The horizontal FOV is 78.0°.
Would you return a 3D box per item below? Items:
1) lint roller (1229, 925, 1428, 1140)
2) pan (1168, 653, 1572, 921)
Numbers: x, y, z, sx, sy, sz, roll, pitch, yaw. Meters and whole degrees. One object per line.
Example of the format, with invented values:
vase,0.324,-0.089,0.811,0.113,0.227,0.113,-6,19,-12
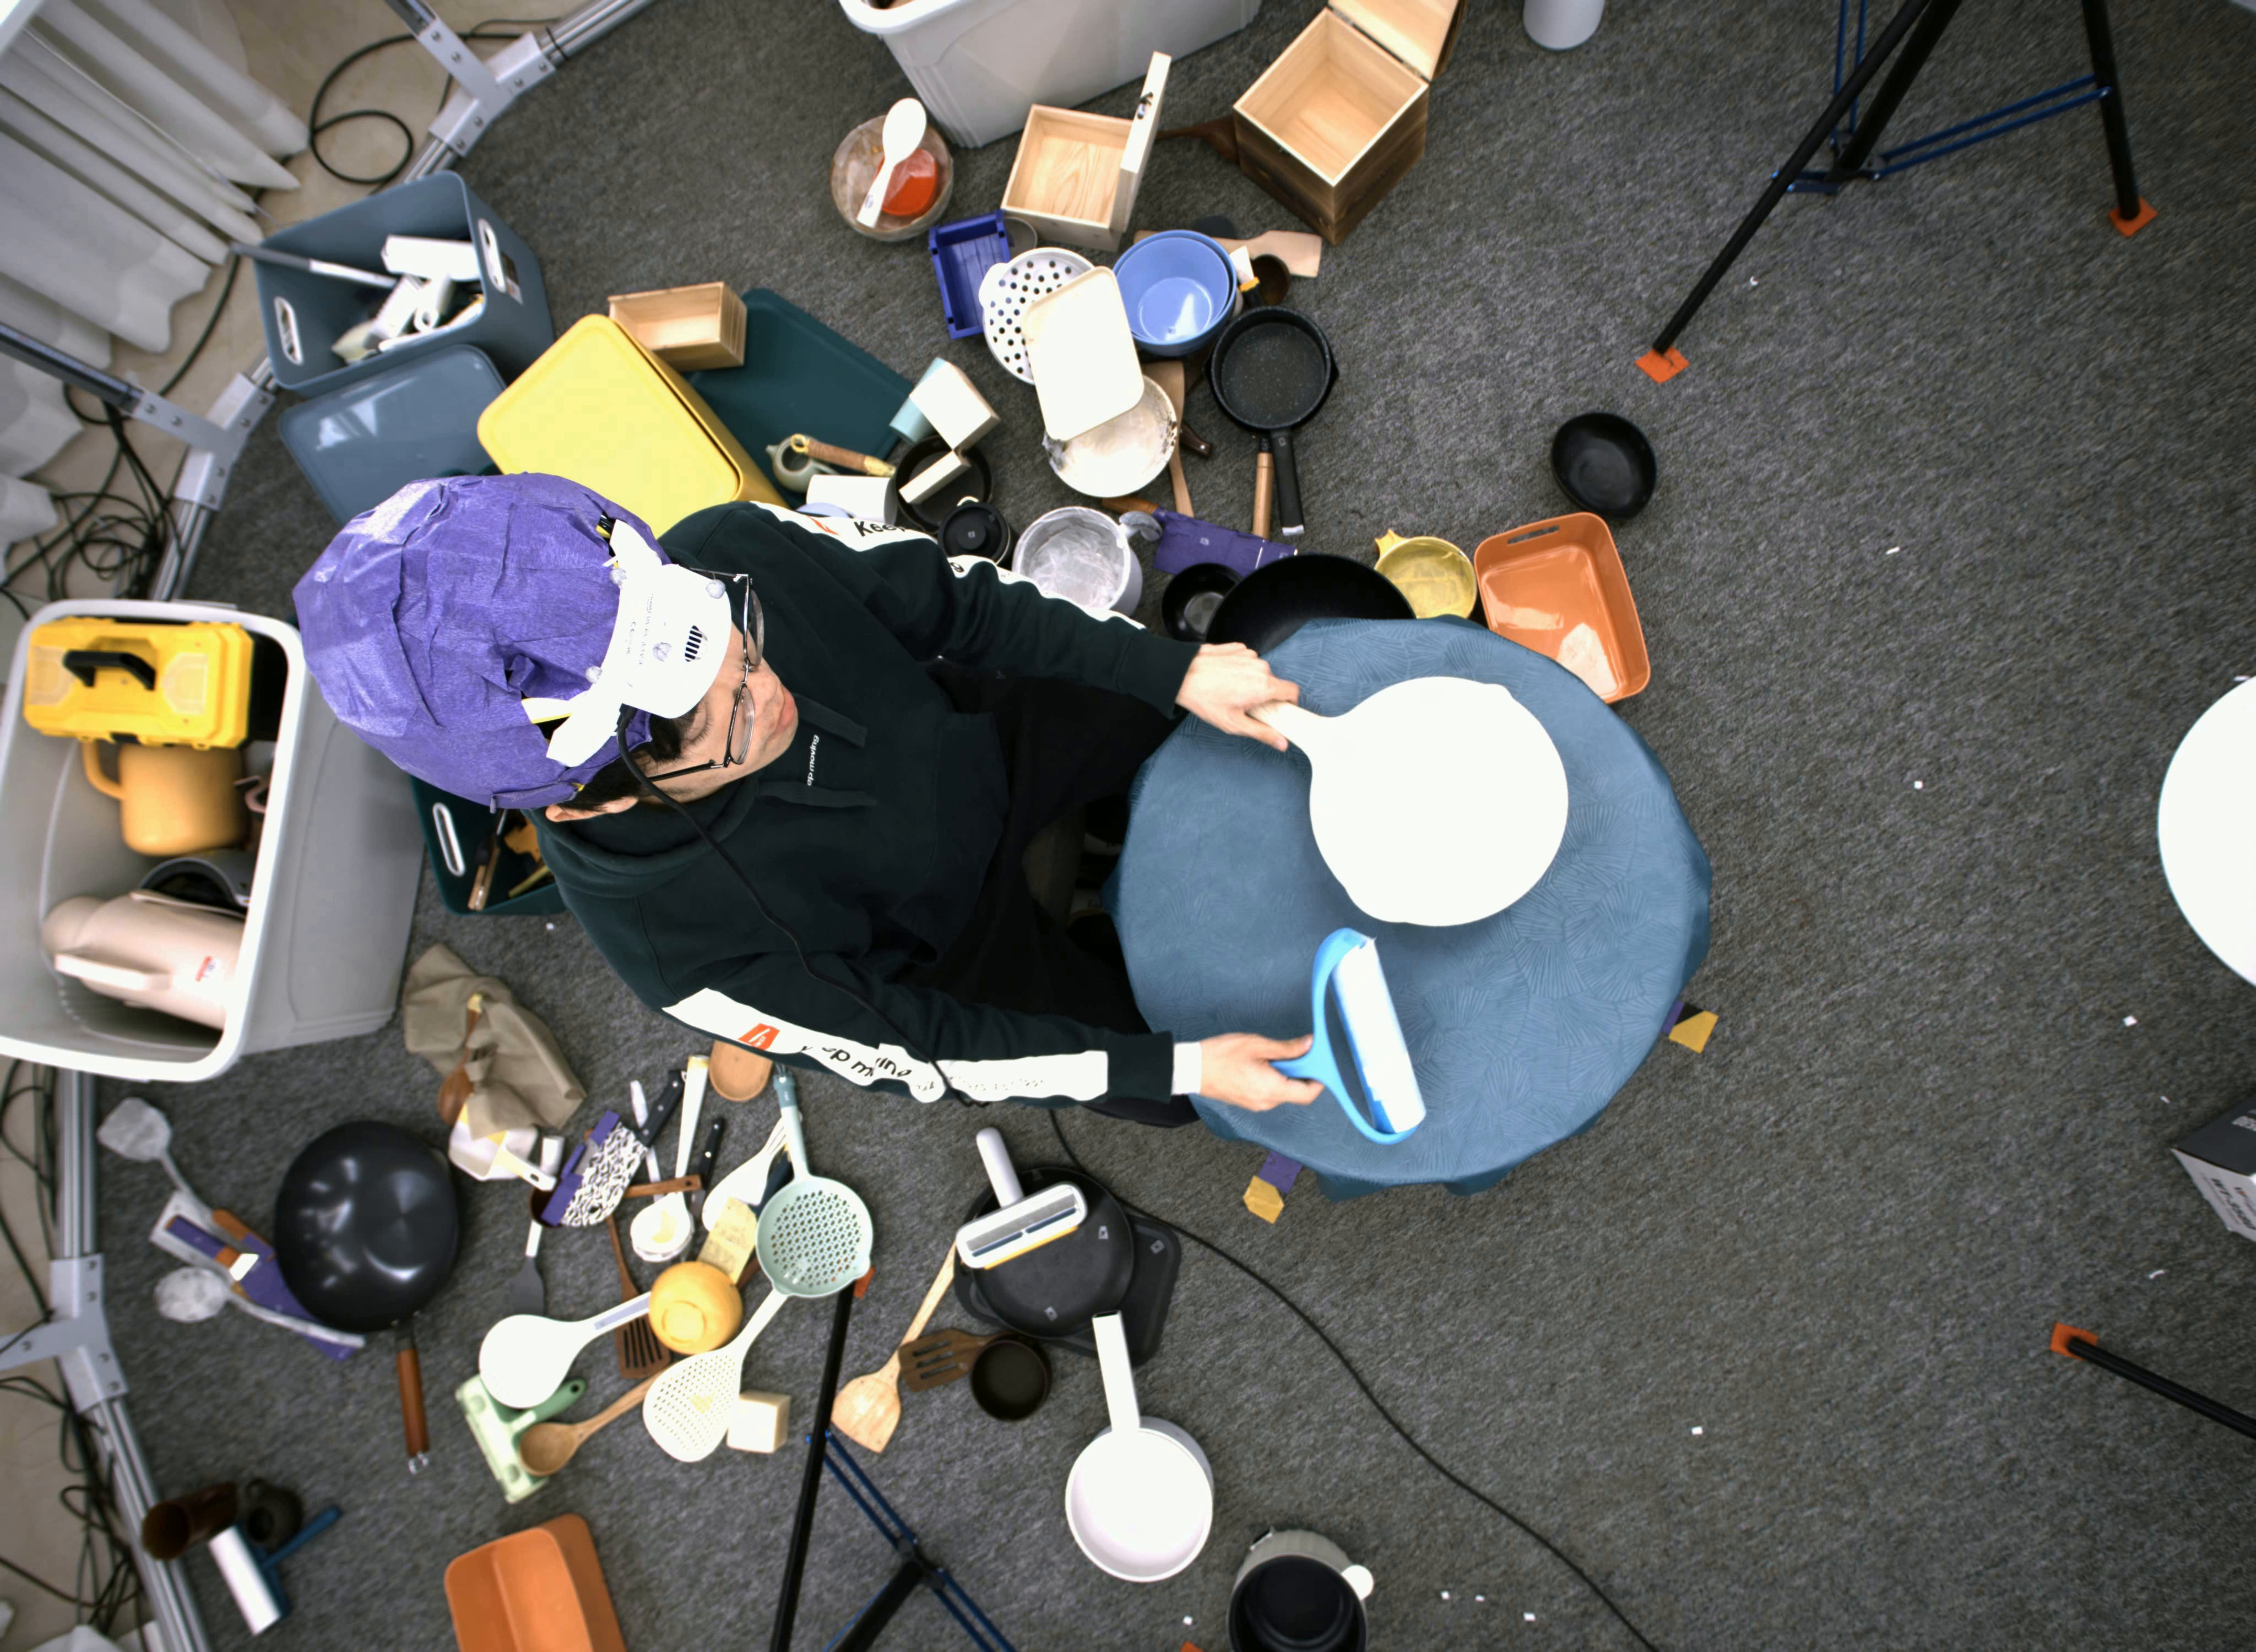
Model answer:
lint roller,0.190,0.224,1.378,0.181,0.067,0.231,-21,106,5
pan,0.240,-0.069,1.417,0.433,0.102,0.264,29,93,17
